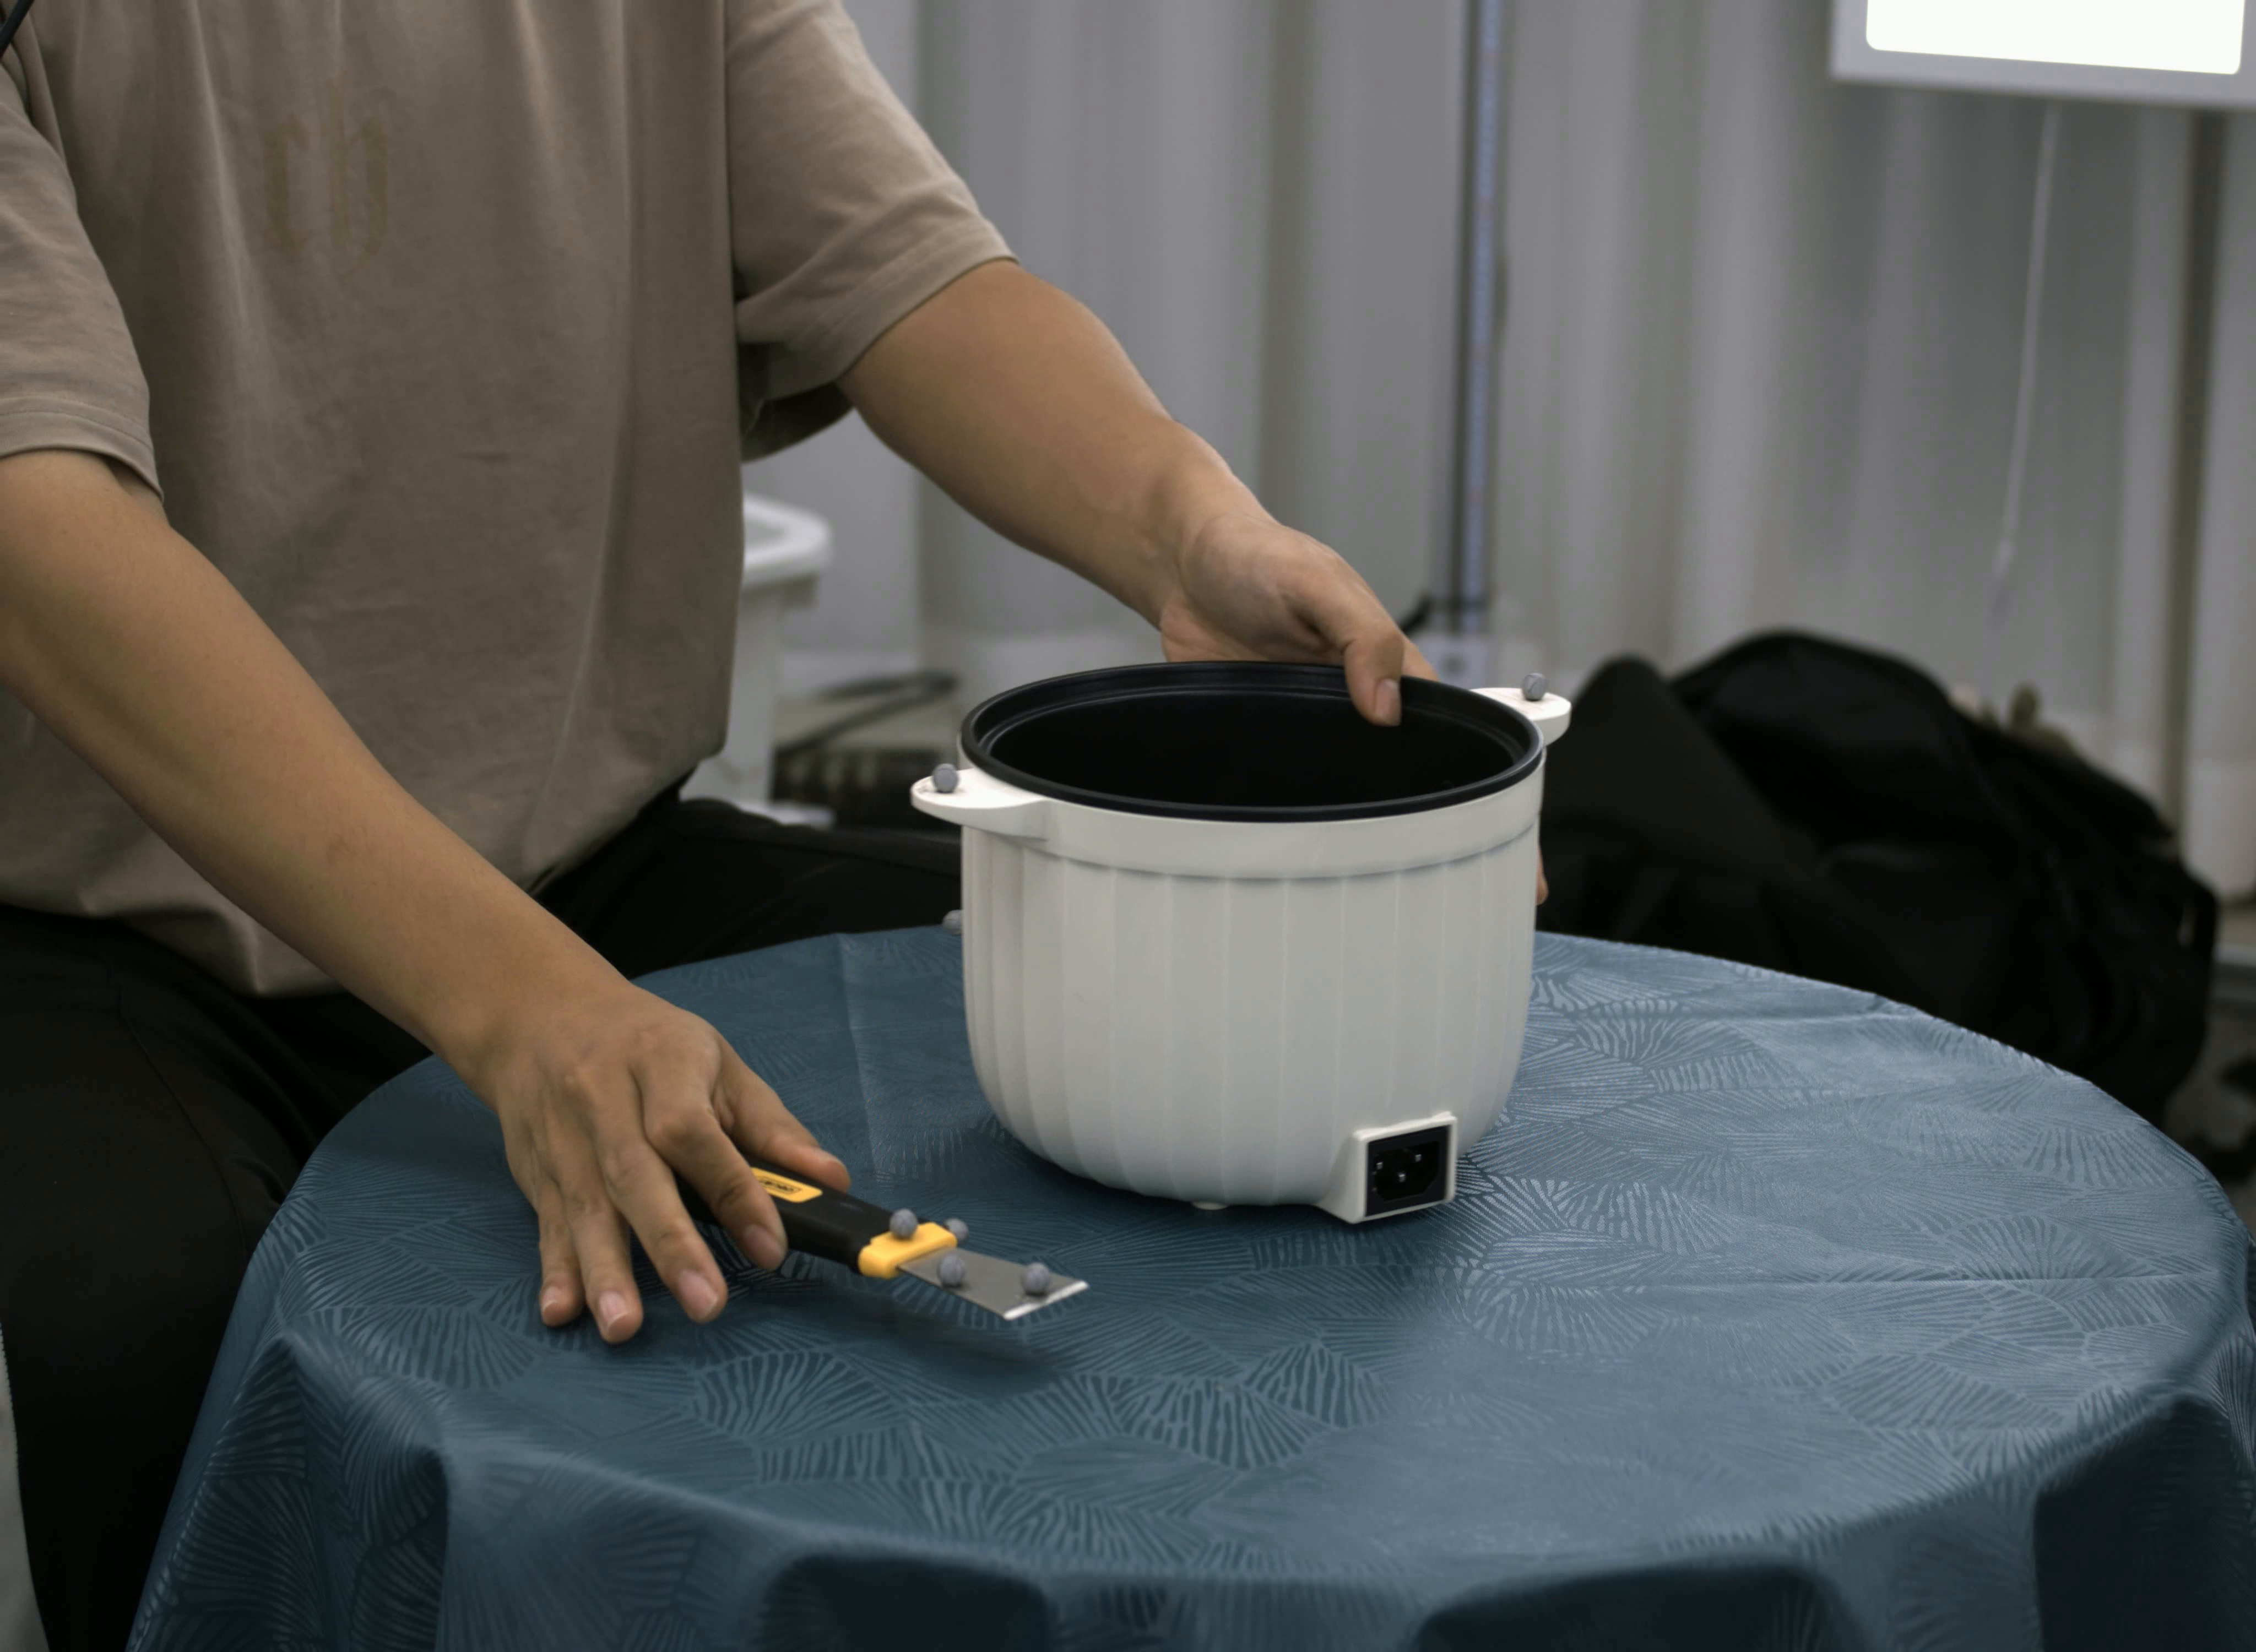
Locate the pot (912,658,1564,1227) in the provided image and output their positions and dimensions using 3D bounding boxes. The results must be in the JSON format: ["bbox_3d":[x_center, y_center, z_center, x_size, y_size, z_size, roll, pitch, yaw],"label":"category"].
[{"bbox_3d":[0.032,0.034,1.649,0.241,0.144,0.188,-9,22,-34],"label":"pot"}]

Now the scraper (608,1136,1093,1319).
[{"bbox_3d":[-0.085,0.115,1.519,0.169,0.015,0.039,14,27,37],"label":"scraper"}]
